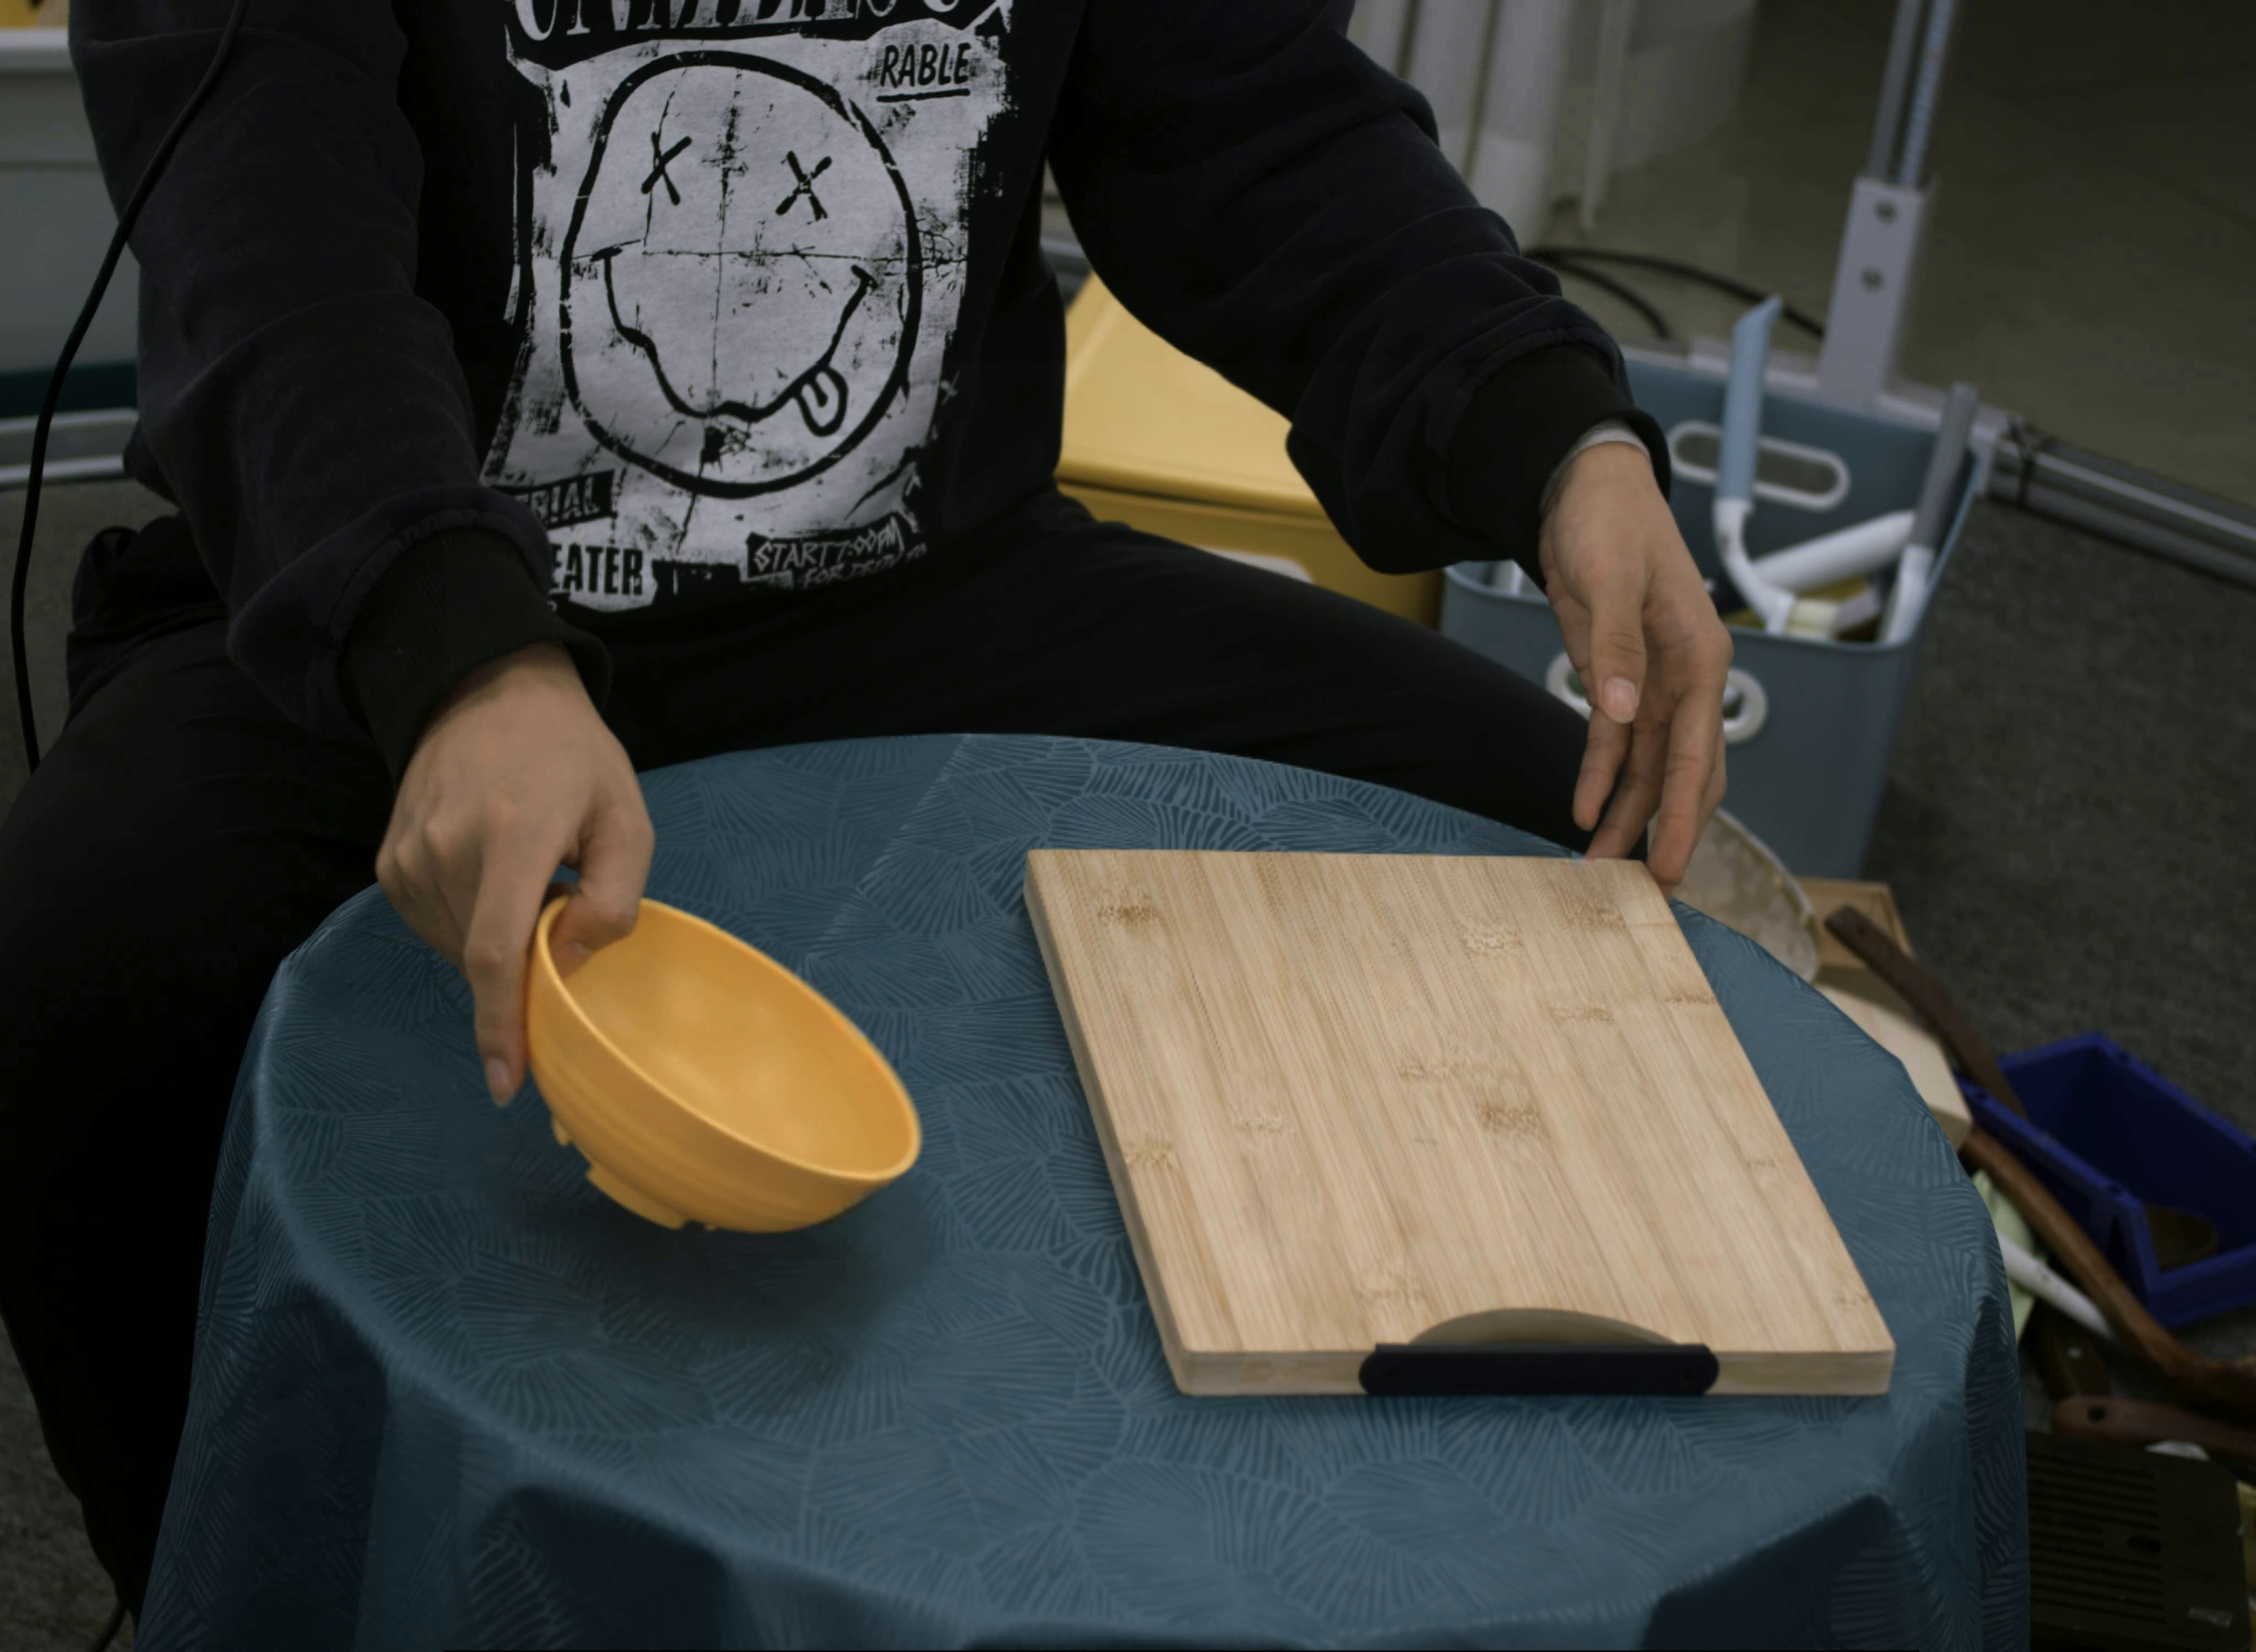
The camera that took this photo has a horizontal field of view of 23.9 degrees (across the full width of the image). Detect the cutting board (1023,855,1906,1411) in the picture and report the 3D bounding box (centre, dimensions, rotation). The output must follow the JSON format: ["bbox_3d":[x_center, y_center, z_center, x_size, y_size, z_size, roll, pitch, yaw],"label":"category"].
[{"bbox_3d":[0.106,0.101,1.850,0.249,0.023,0.351,0,27,-12],"label":"cutting board"}]

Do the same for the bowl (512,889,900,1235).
[{"bbox_3d":[-0.148,0.089,1.722,0.144,0.060,0.146,34,15,-11],"label":"bowl"}]
